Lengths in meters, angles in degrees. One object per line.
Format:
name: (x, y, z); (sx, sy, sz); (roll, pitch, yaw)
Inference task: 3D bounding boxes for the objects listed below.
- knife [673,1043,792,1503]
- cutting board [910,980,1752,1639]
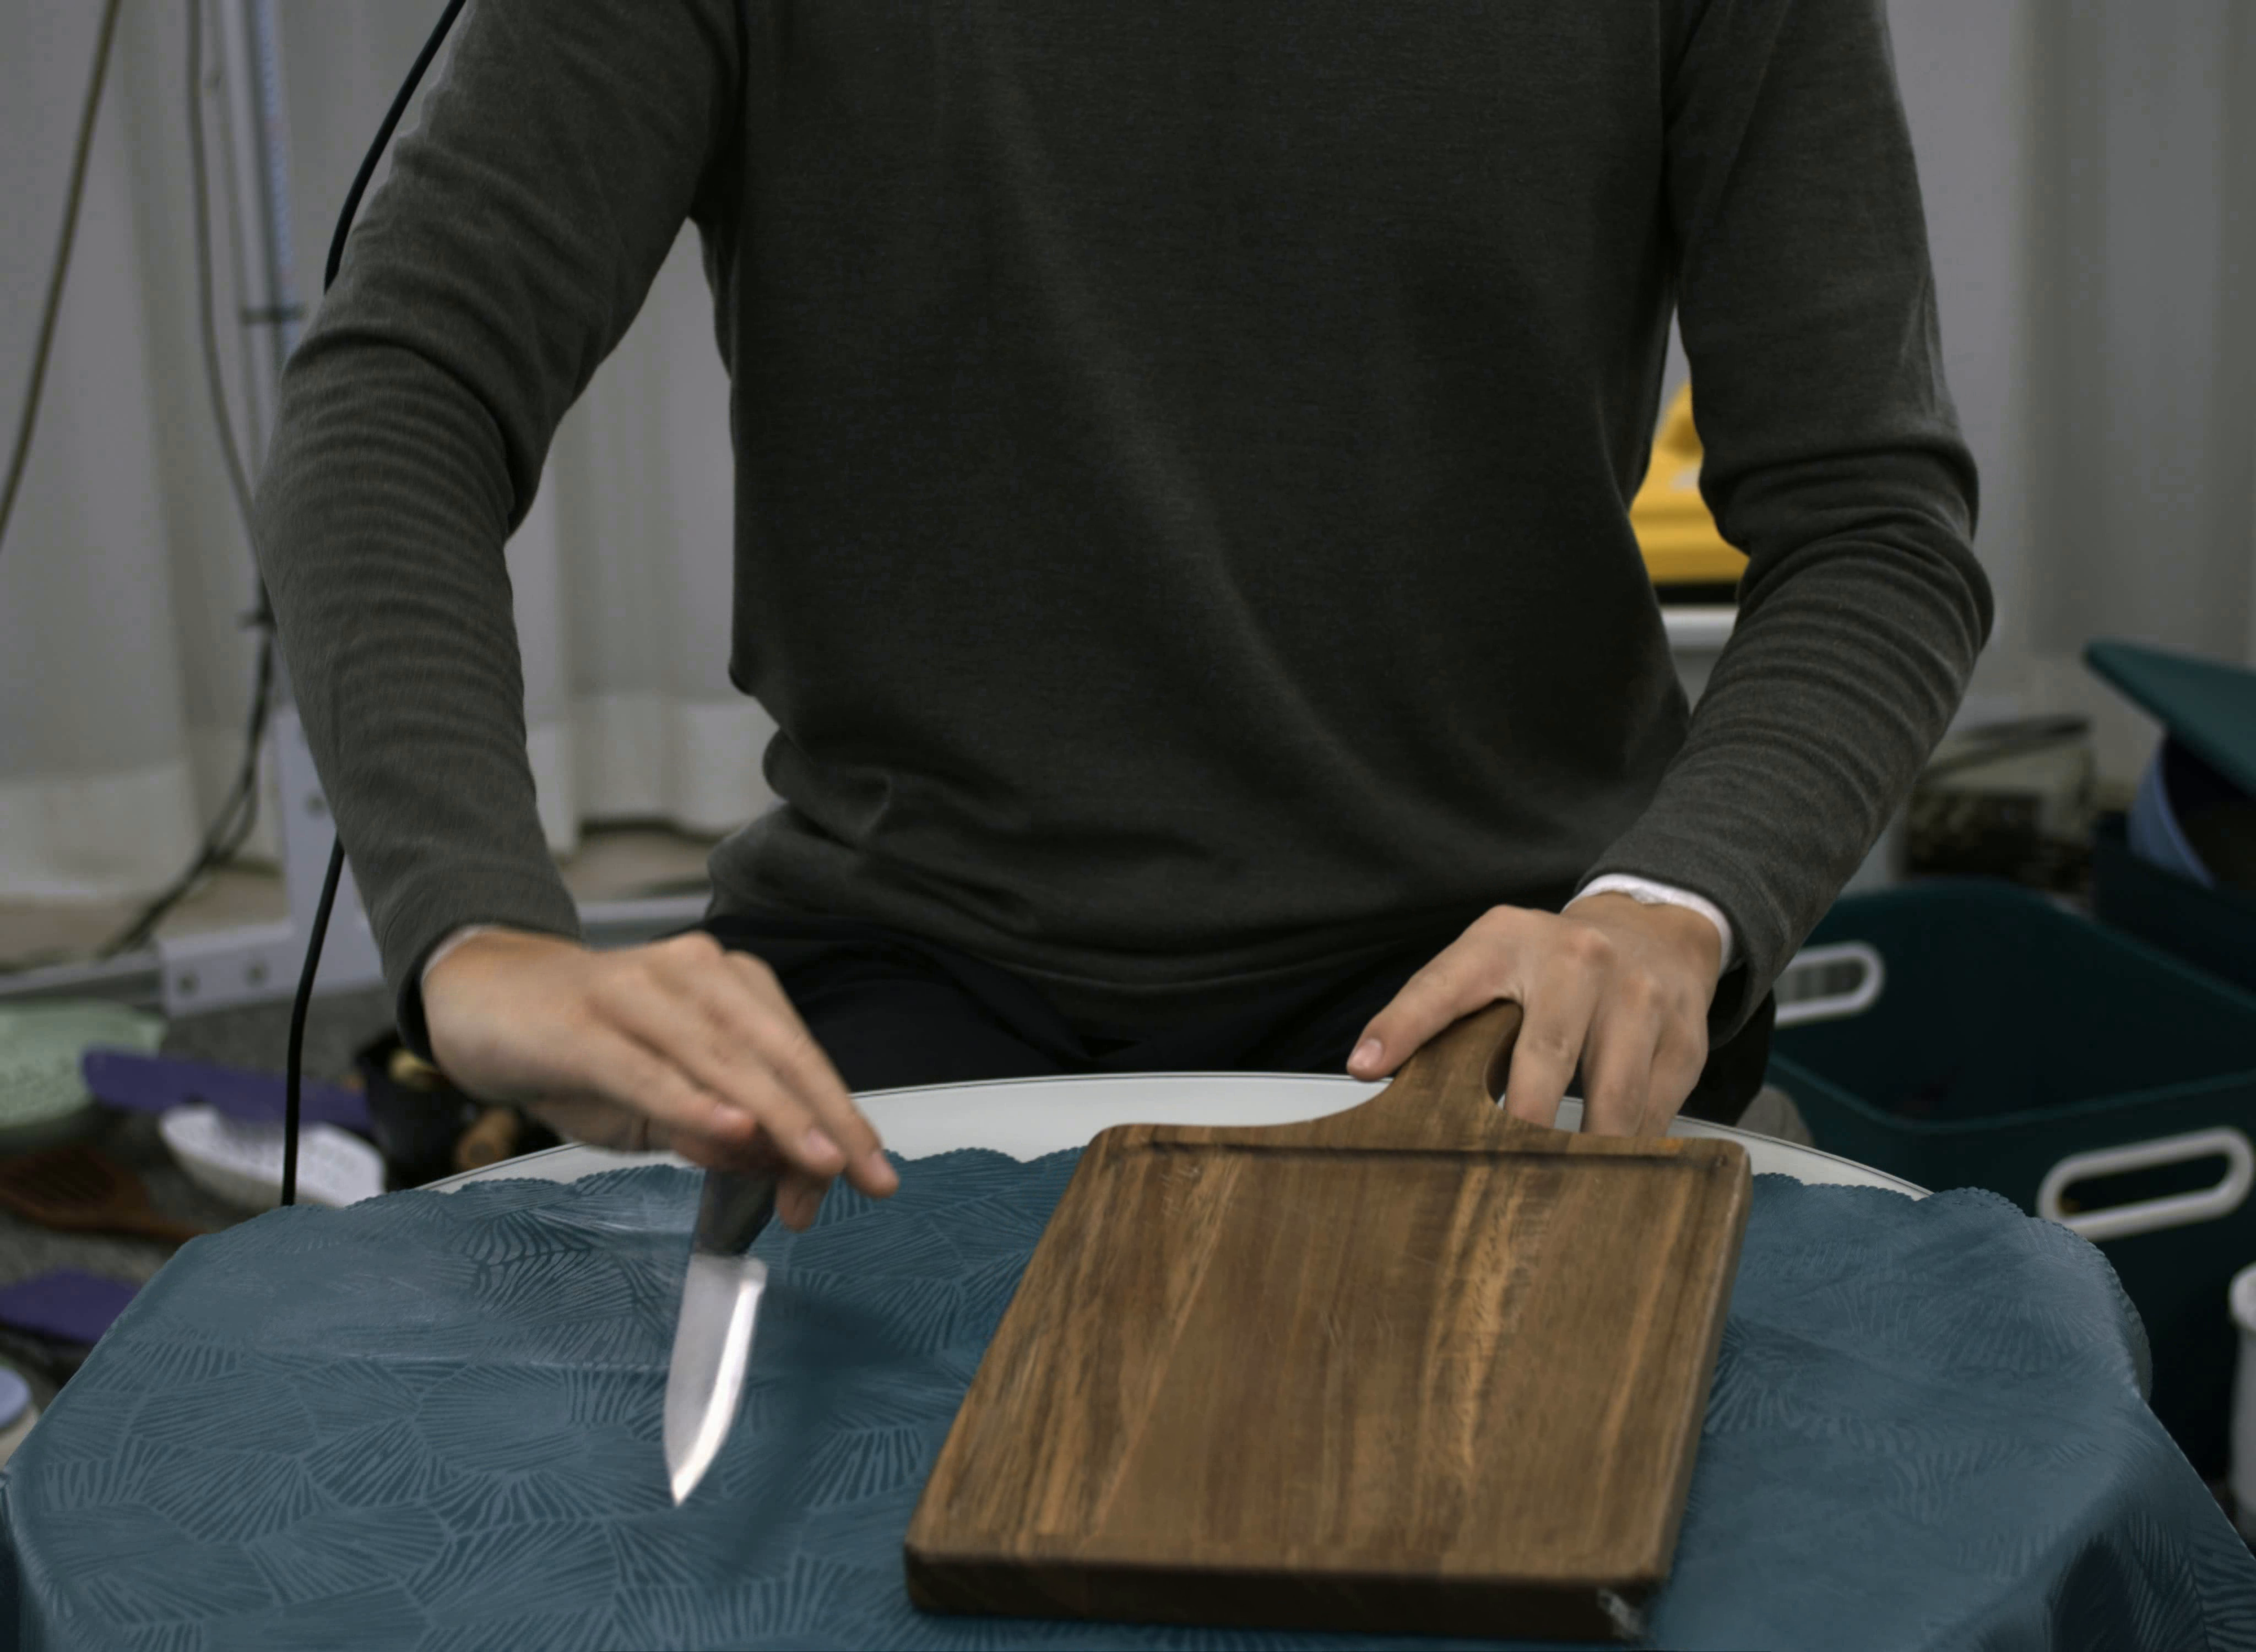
knife: (-0.111, 0.121, 1.517); (0.024, 0.016, 0.241); (12, 26, -5)
cutting board: (0.071, 0.125, 1.531); (0.201, 0.023, 0.355); (1, 23, 12)
